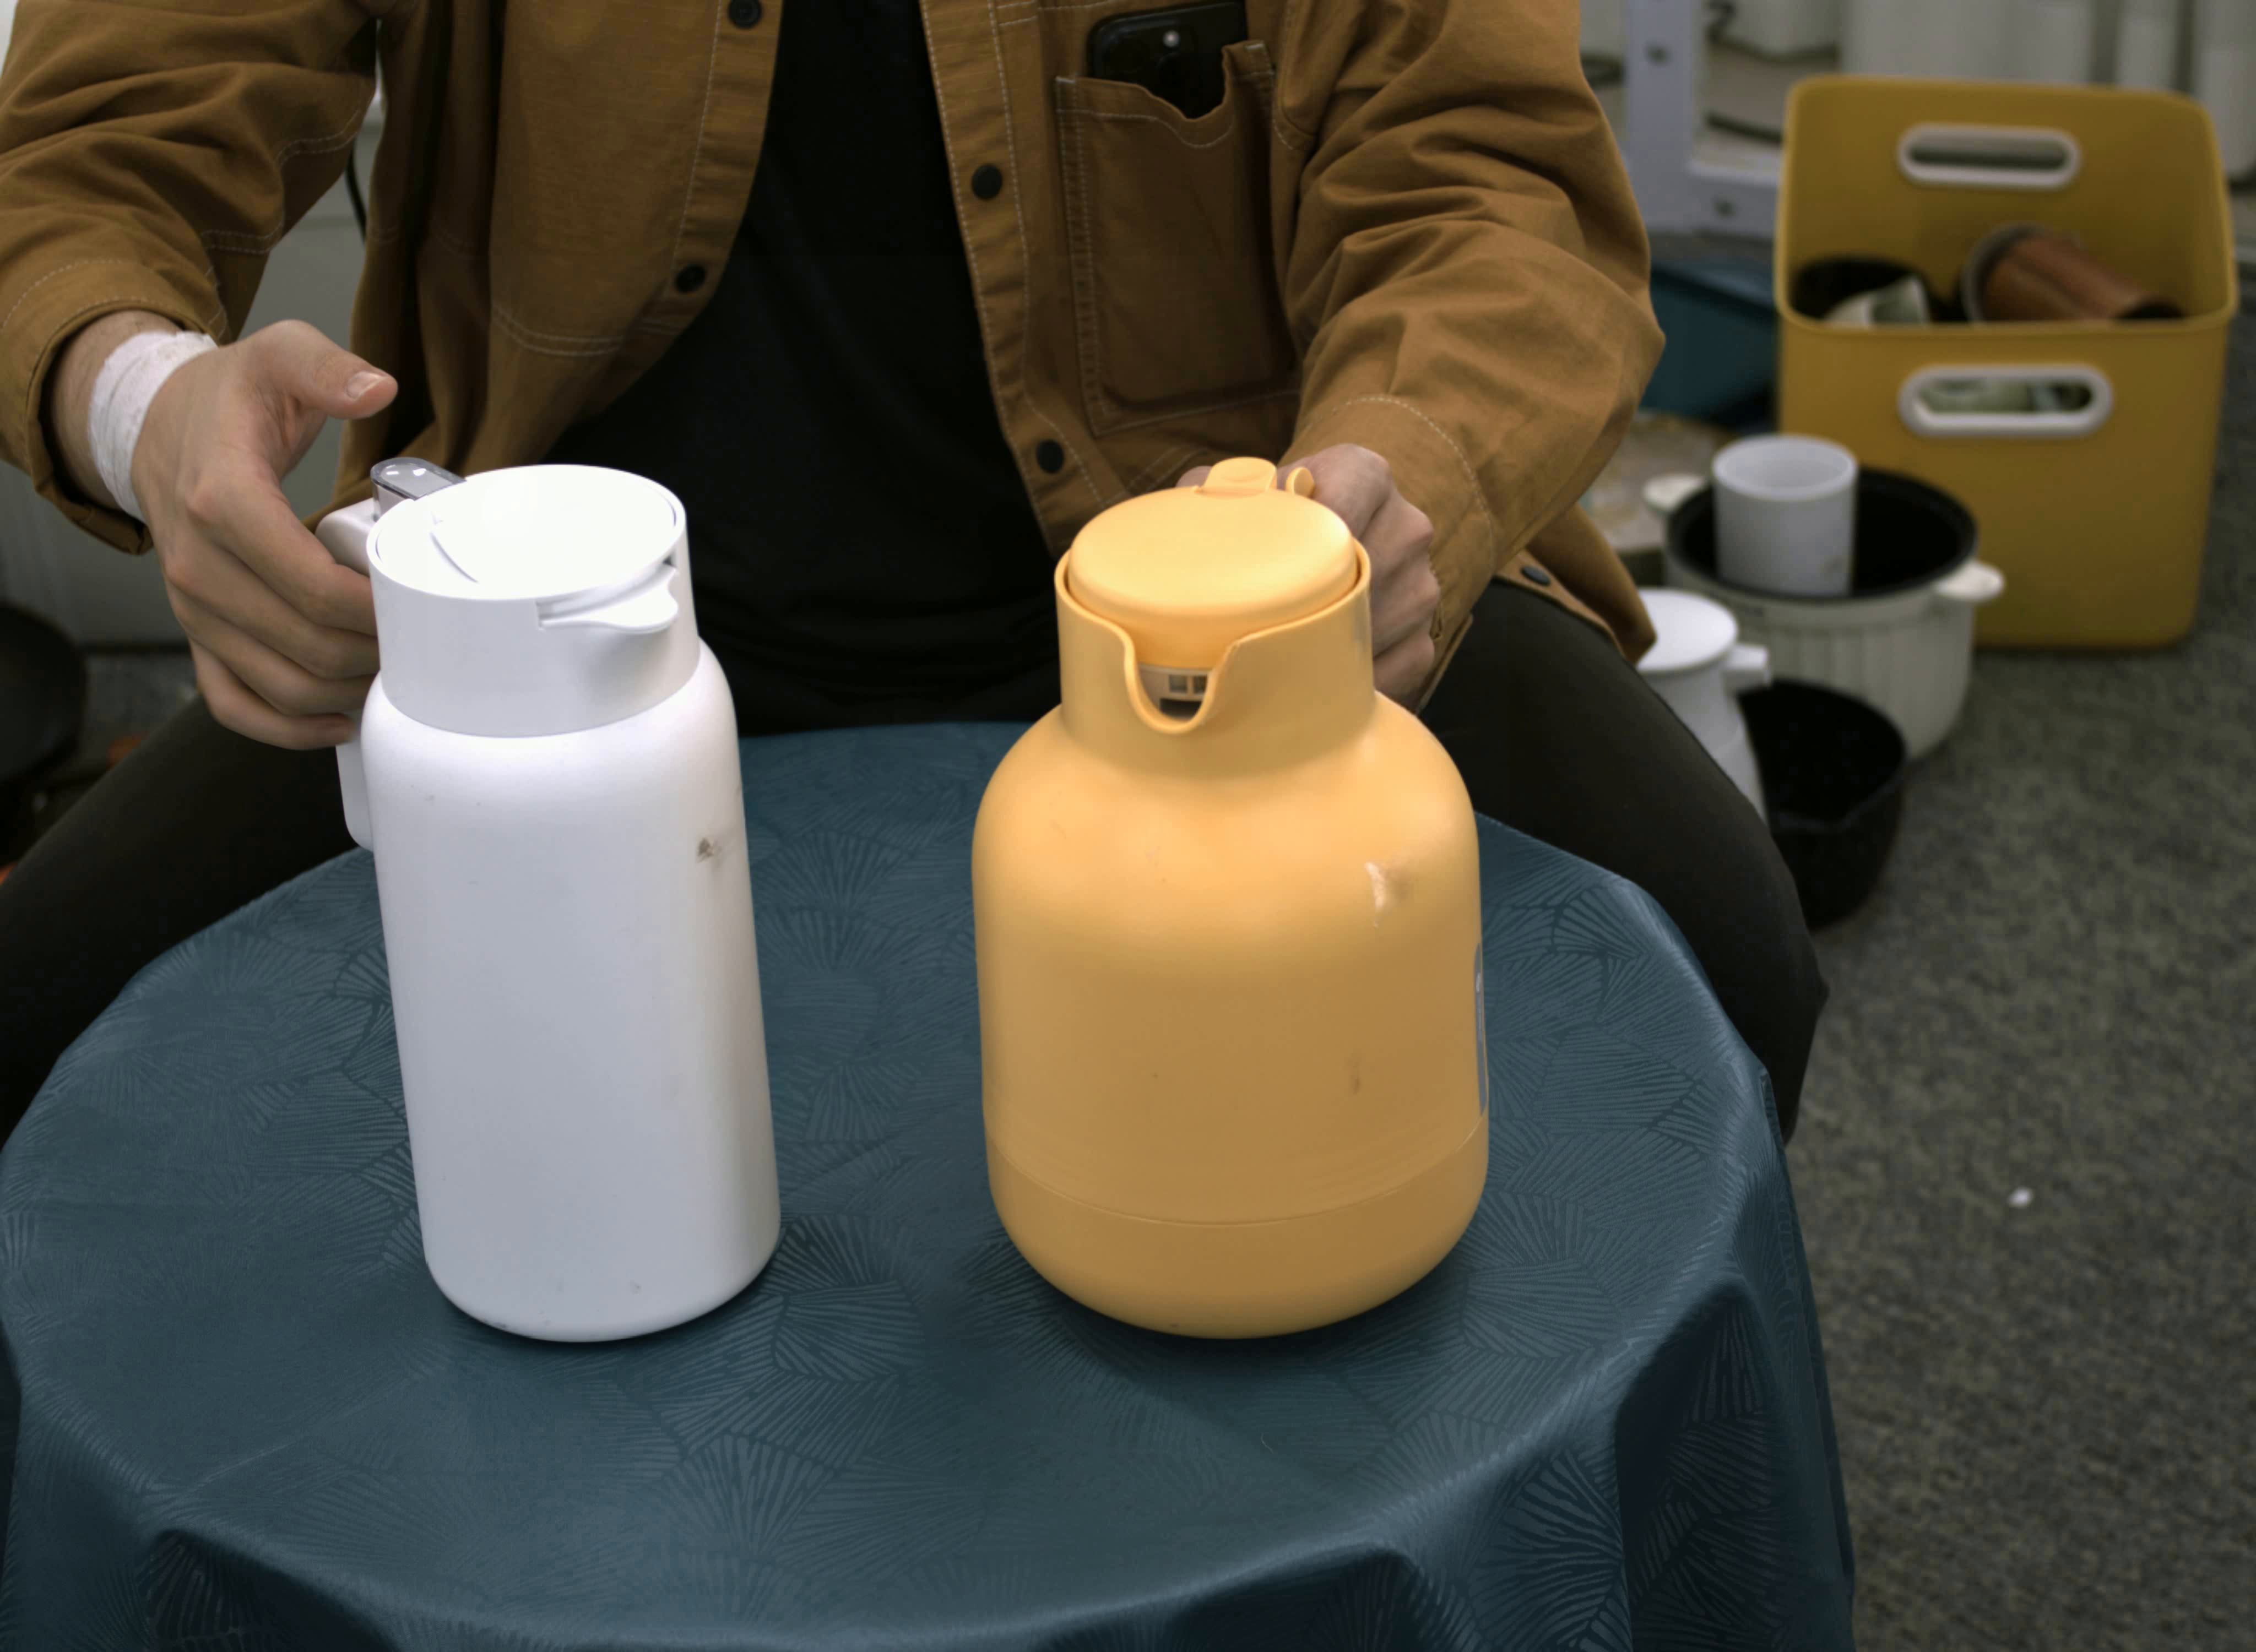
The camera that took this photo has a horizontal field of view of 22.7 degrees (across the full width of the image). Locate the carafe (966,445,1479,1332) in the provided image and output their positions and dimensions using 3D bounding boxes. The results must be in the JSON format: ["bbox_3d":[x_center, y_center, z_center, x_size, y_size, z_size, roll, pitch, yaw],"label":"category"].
[{"bbox_3d":[0.035,0.010,1.788,0.162,0.257,0.206,6,29,12],"label":"carafe"}]

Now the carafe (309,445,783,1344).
[{"bbox_3d":[-0.190,0.020,1.788,0.125,0.266,0.172,-27,34,-36],"label":"carafe"}]
